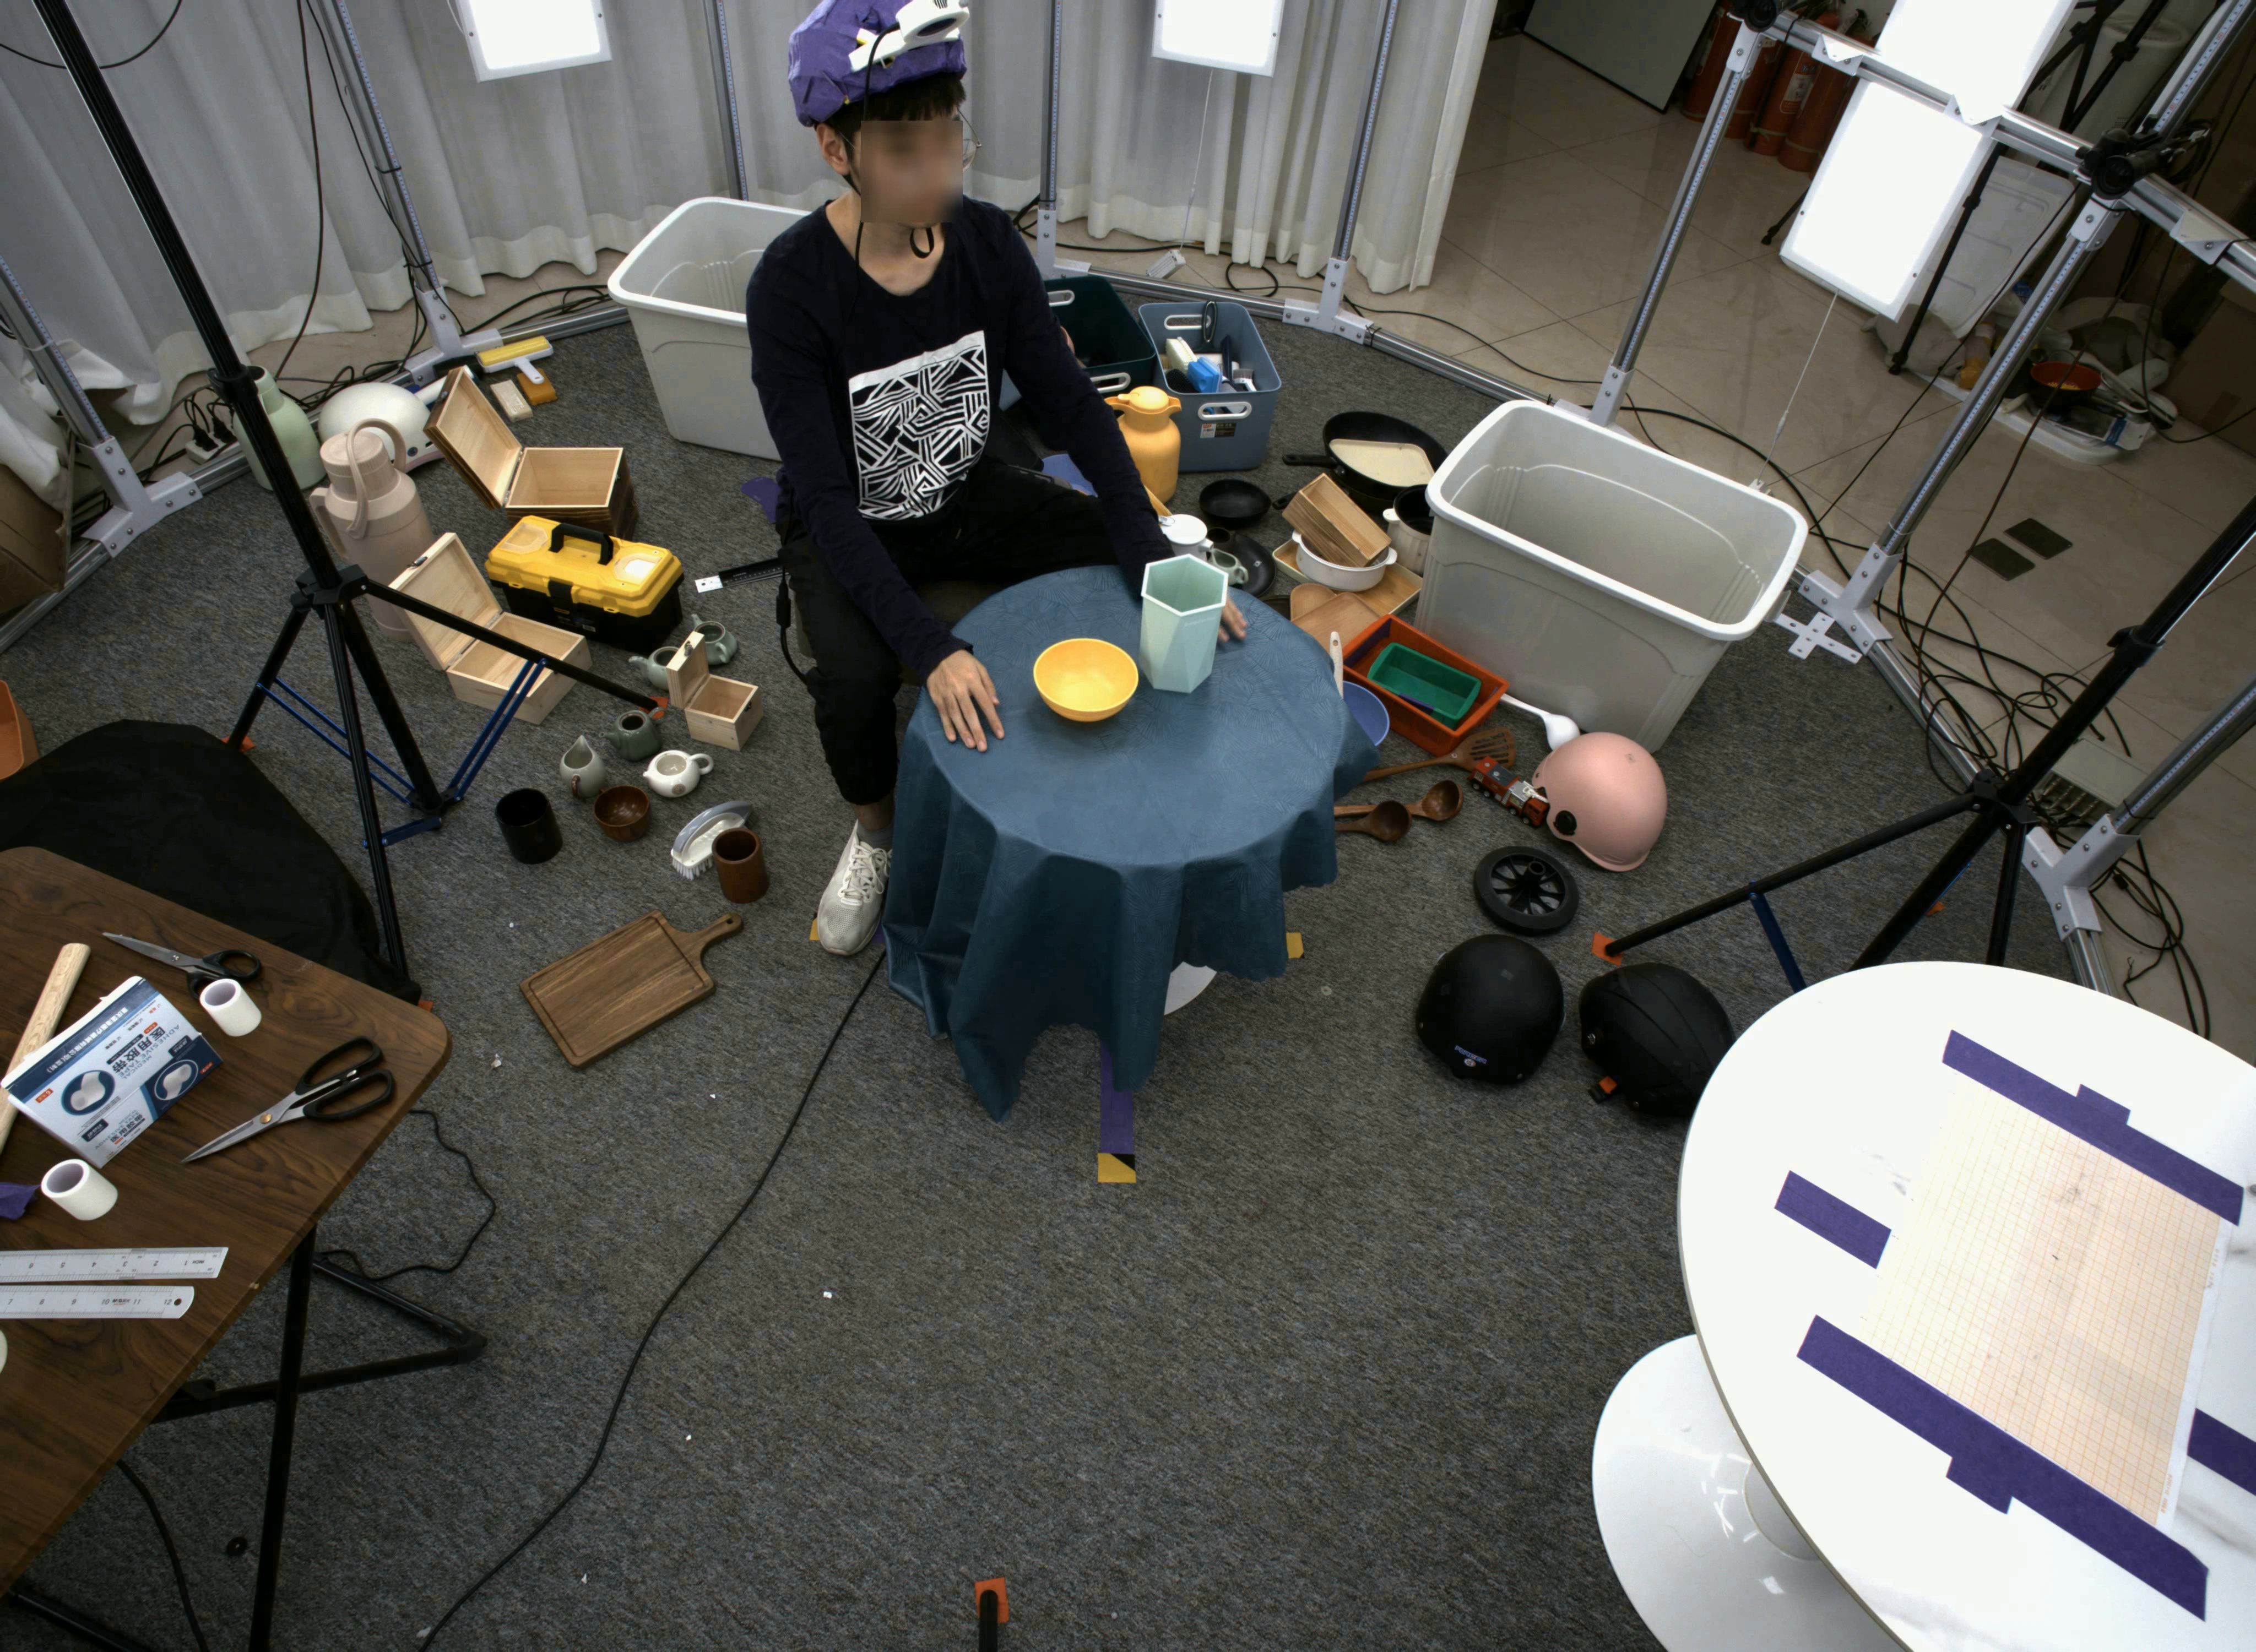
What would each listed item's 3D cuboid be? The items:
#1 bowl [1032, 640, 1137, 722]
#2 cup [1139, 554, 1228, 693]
[{"bbox_3d":[-0.061,-0.191,1.793,0.145,0.058,0.149,2,47,-2],"label":"bowl"},{"bbox_3d":[0.074,-0.280,1.811,0.131,0.159,0.118,-17,51,-19],"label":"cup"}]
